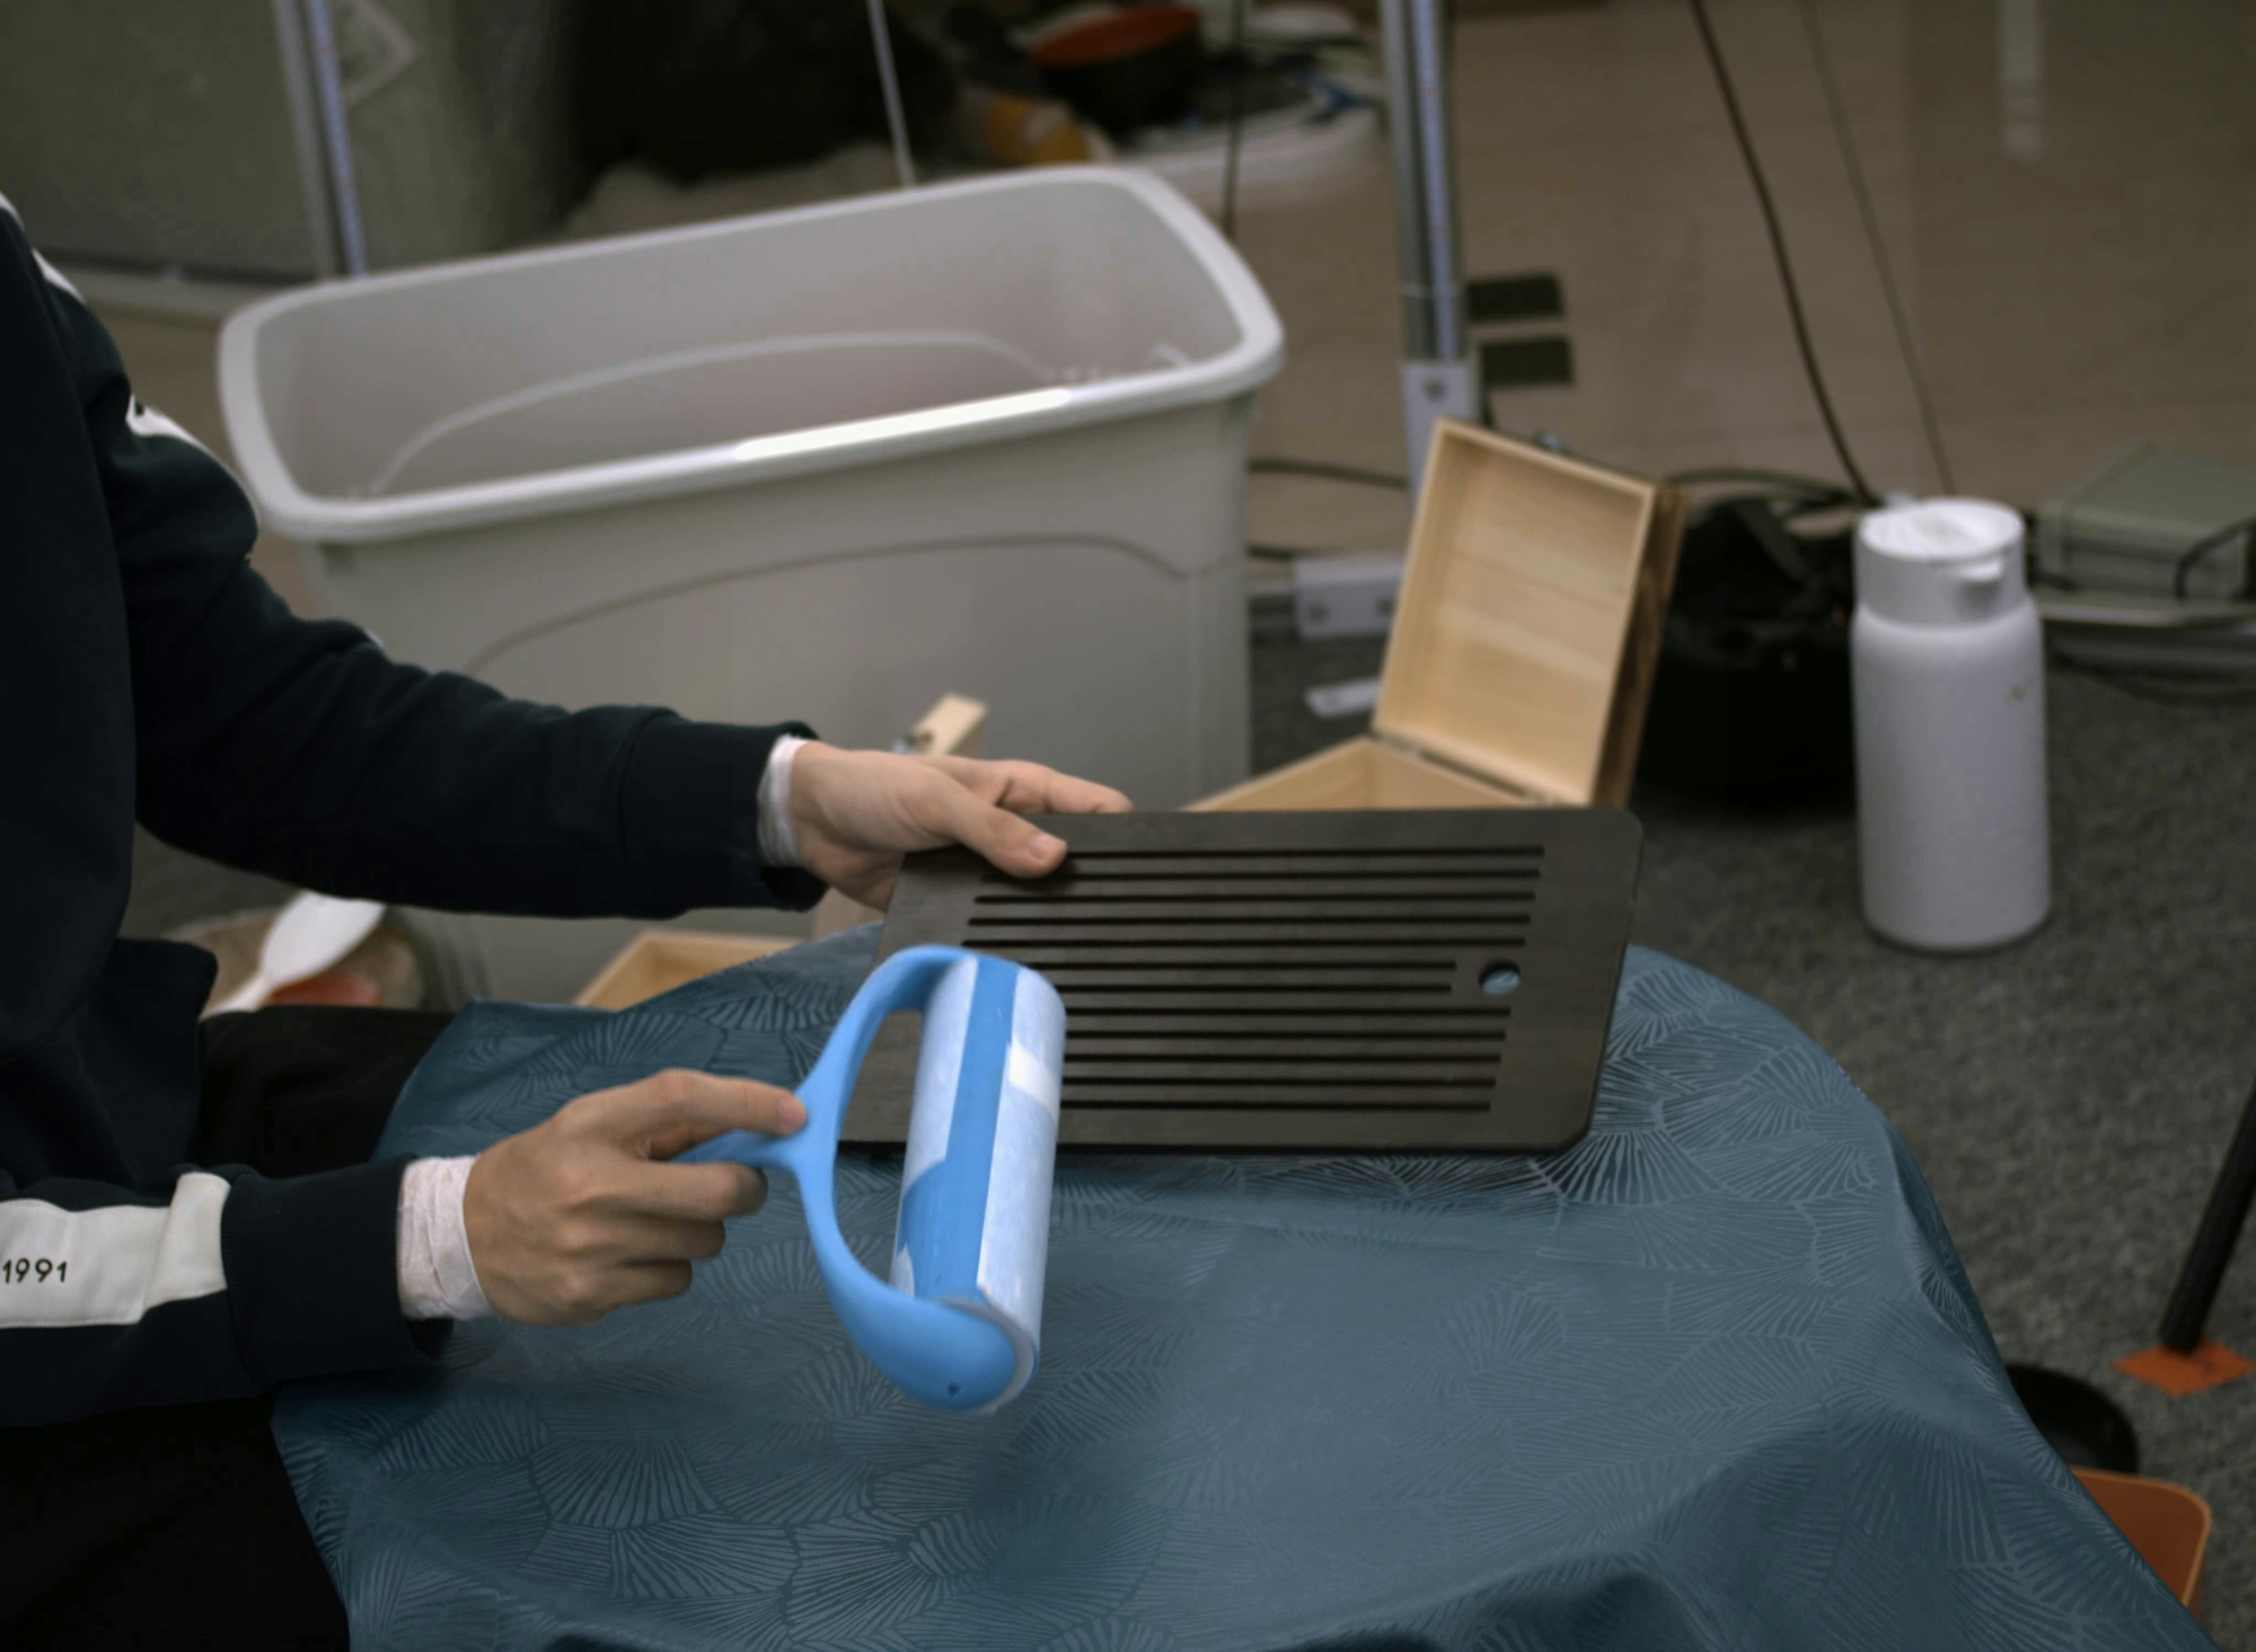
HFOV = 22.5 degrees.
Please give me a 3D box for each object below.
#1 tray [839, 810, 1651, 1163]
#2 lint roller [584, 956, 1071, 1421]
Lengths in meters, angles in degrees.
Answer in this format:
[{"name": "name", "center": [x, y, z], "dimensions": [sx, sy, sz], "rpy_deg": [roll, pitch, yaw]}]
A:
[{"name": "tray", "center": [0.043, 0.062, 2.193], "dimensions": [0.305, 0.019, 0.167], "rpy_deg": [0, 50, 19]}, {"name": "lint roller", "center": [-0.111, 0.134, 2.004], "dimensions": [0.180, 0.069, 0.225], "rpy_deg": [-8, 36, 6]}]
